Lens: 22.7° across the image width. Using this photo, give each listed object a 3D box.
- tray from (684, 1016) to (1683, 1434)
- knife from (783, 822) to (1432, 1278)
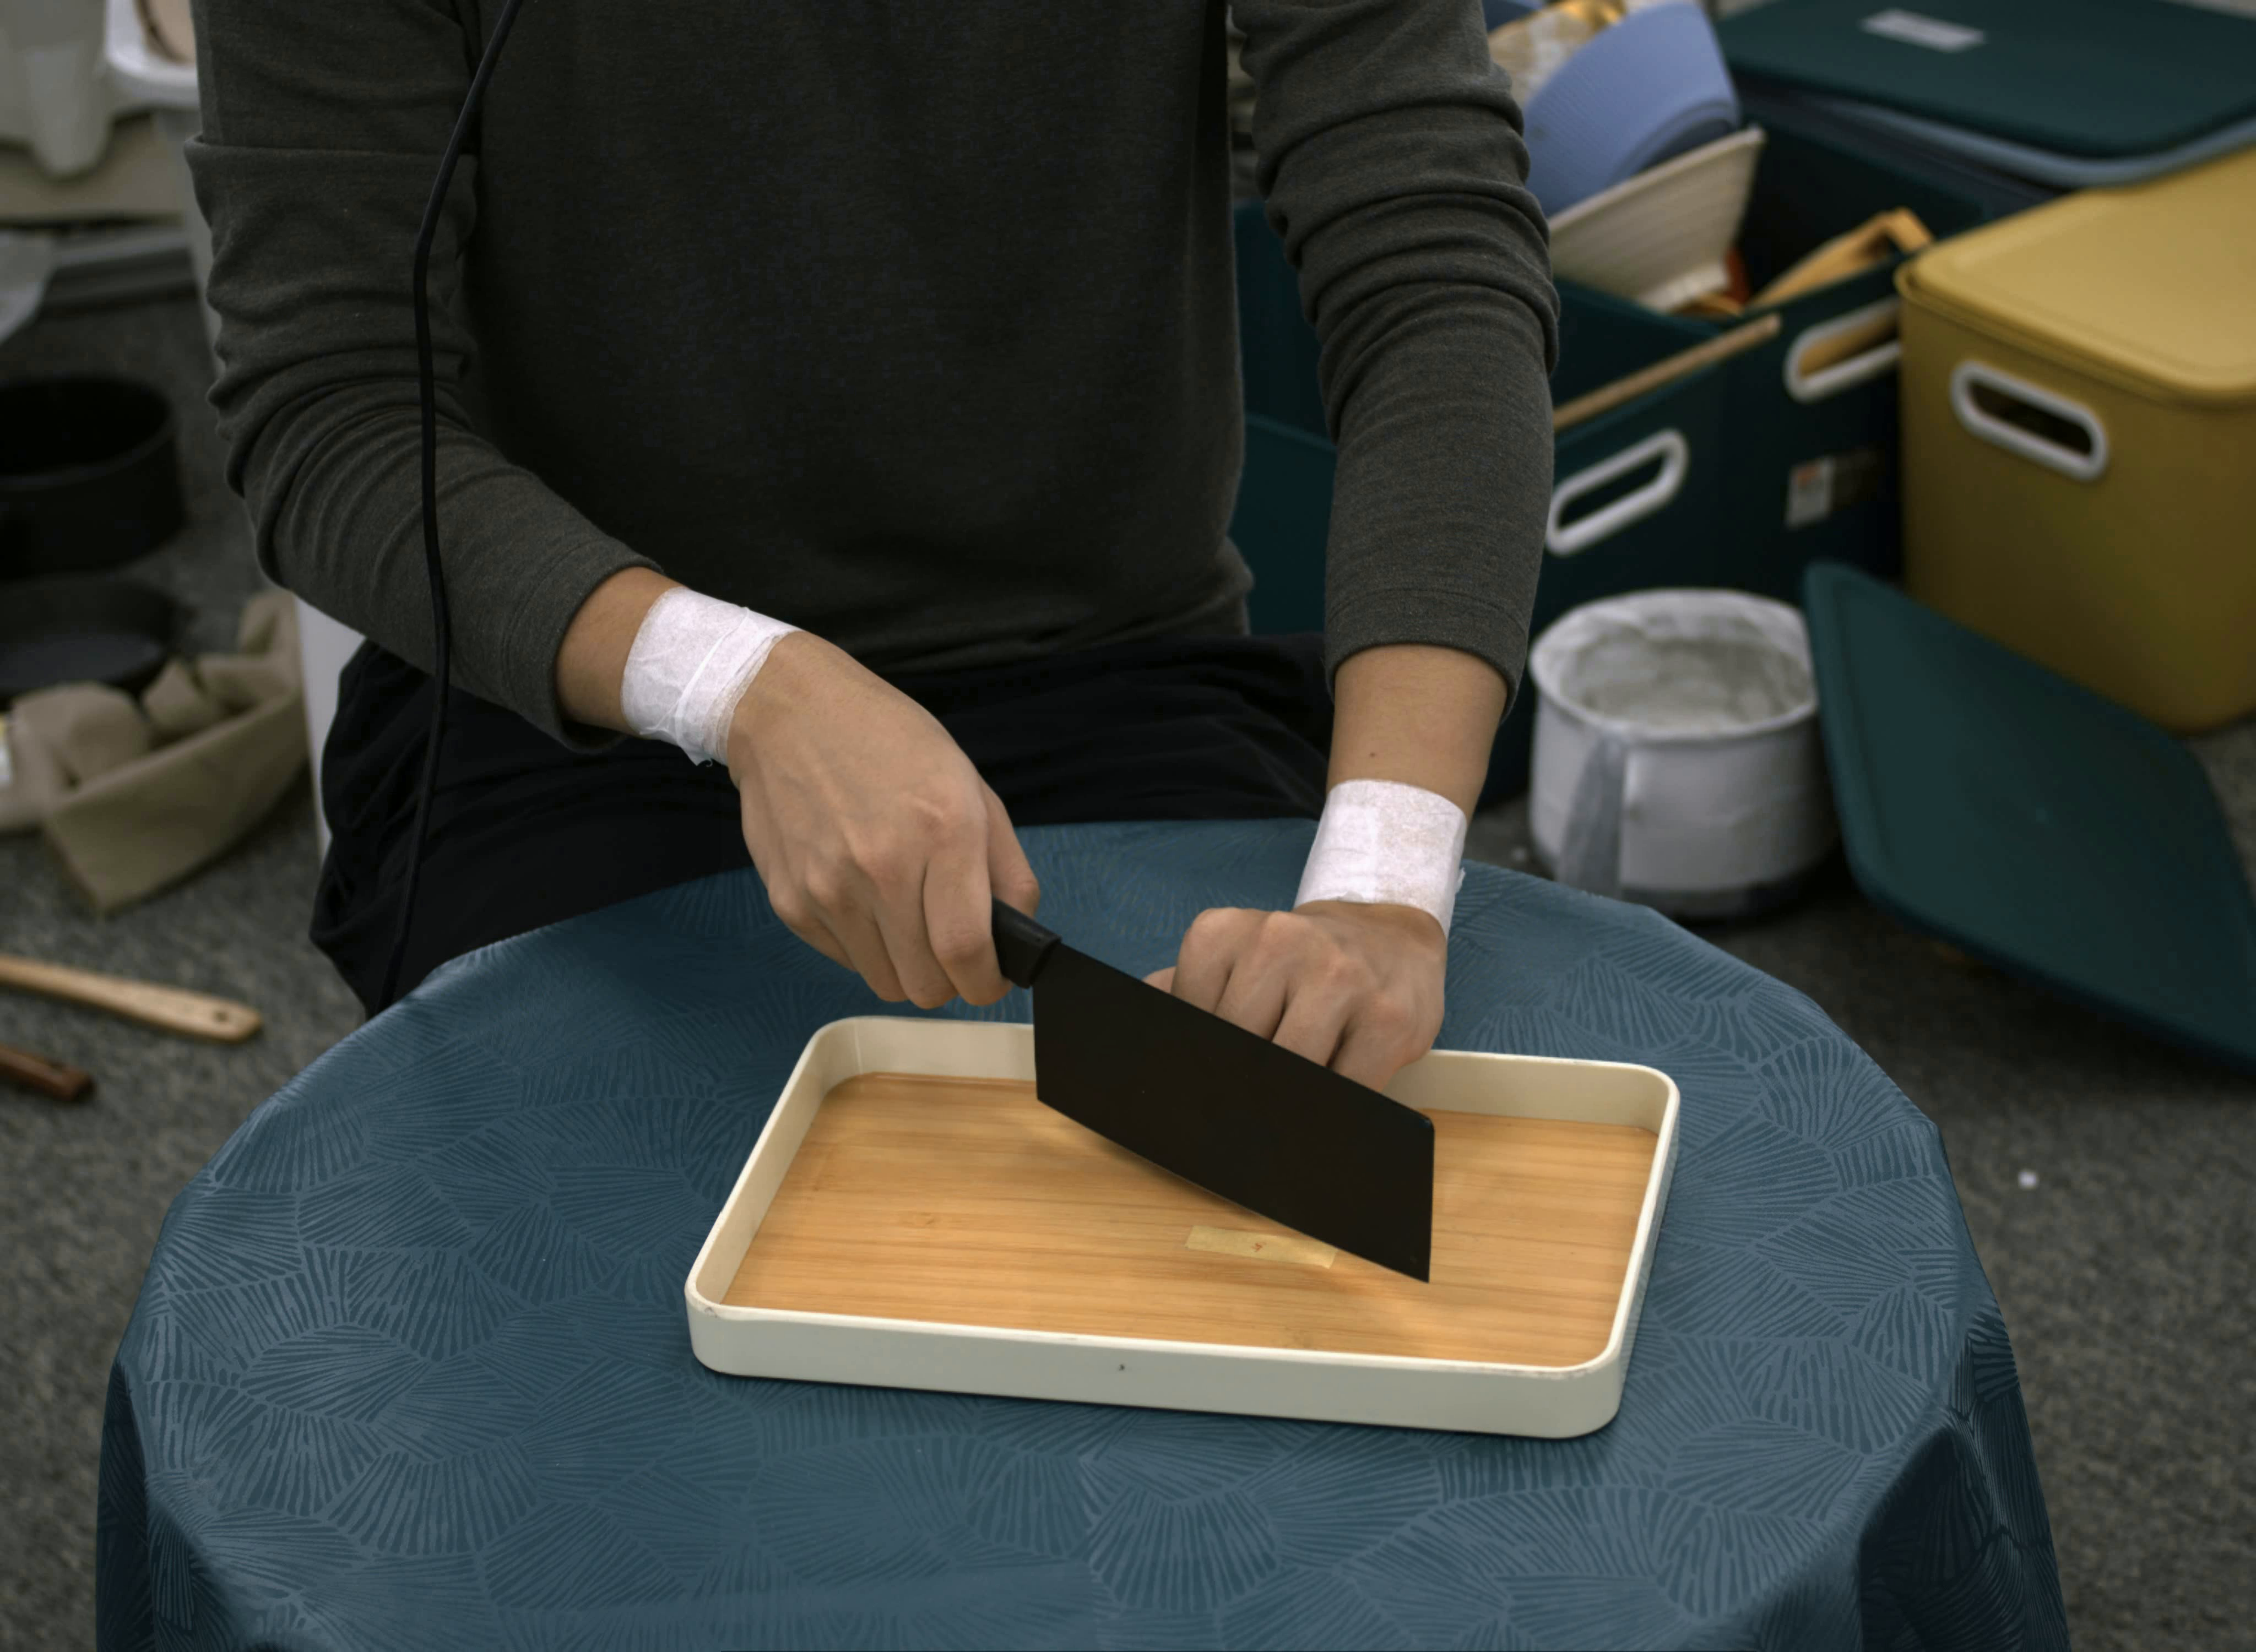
[{"bbox_3d":[0.022,0.127,1.821,0.298,0.027,0.195,3,27,11],"label":"tray"},{"bbox_3d":[-0.010,0.068,1.850,0.021,0.080,0.302,-21,37,-40],"label":"knife"}]
